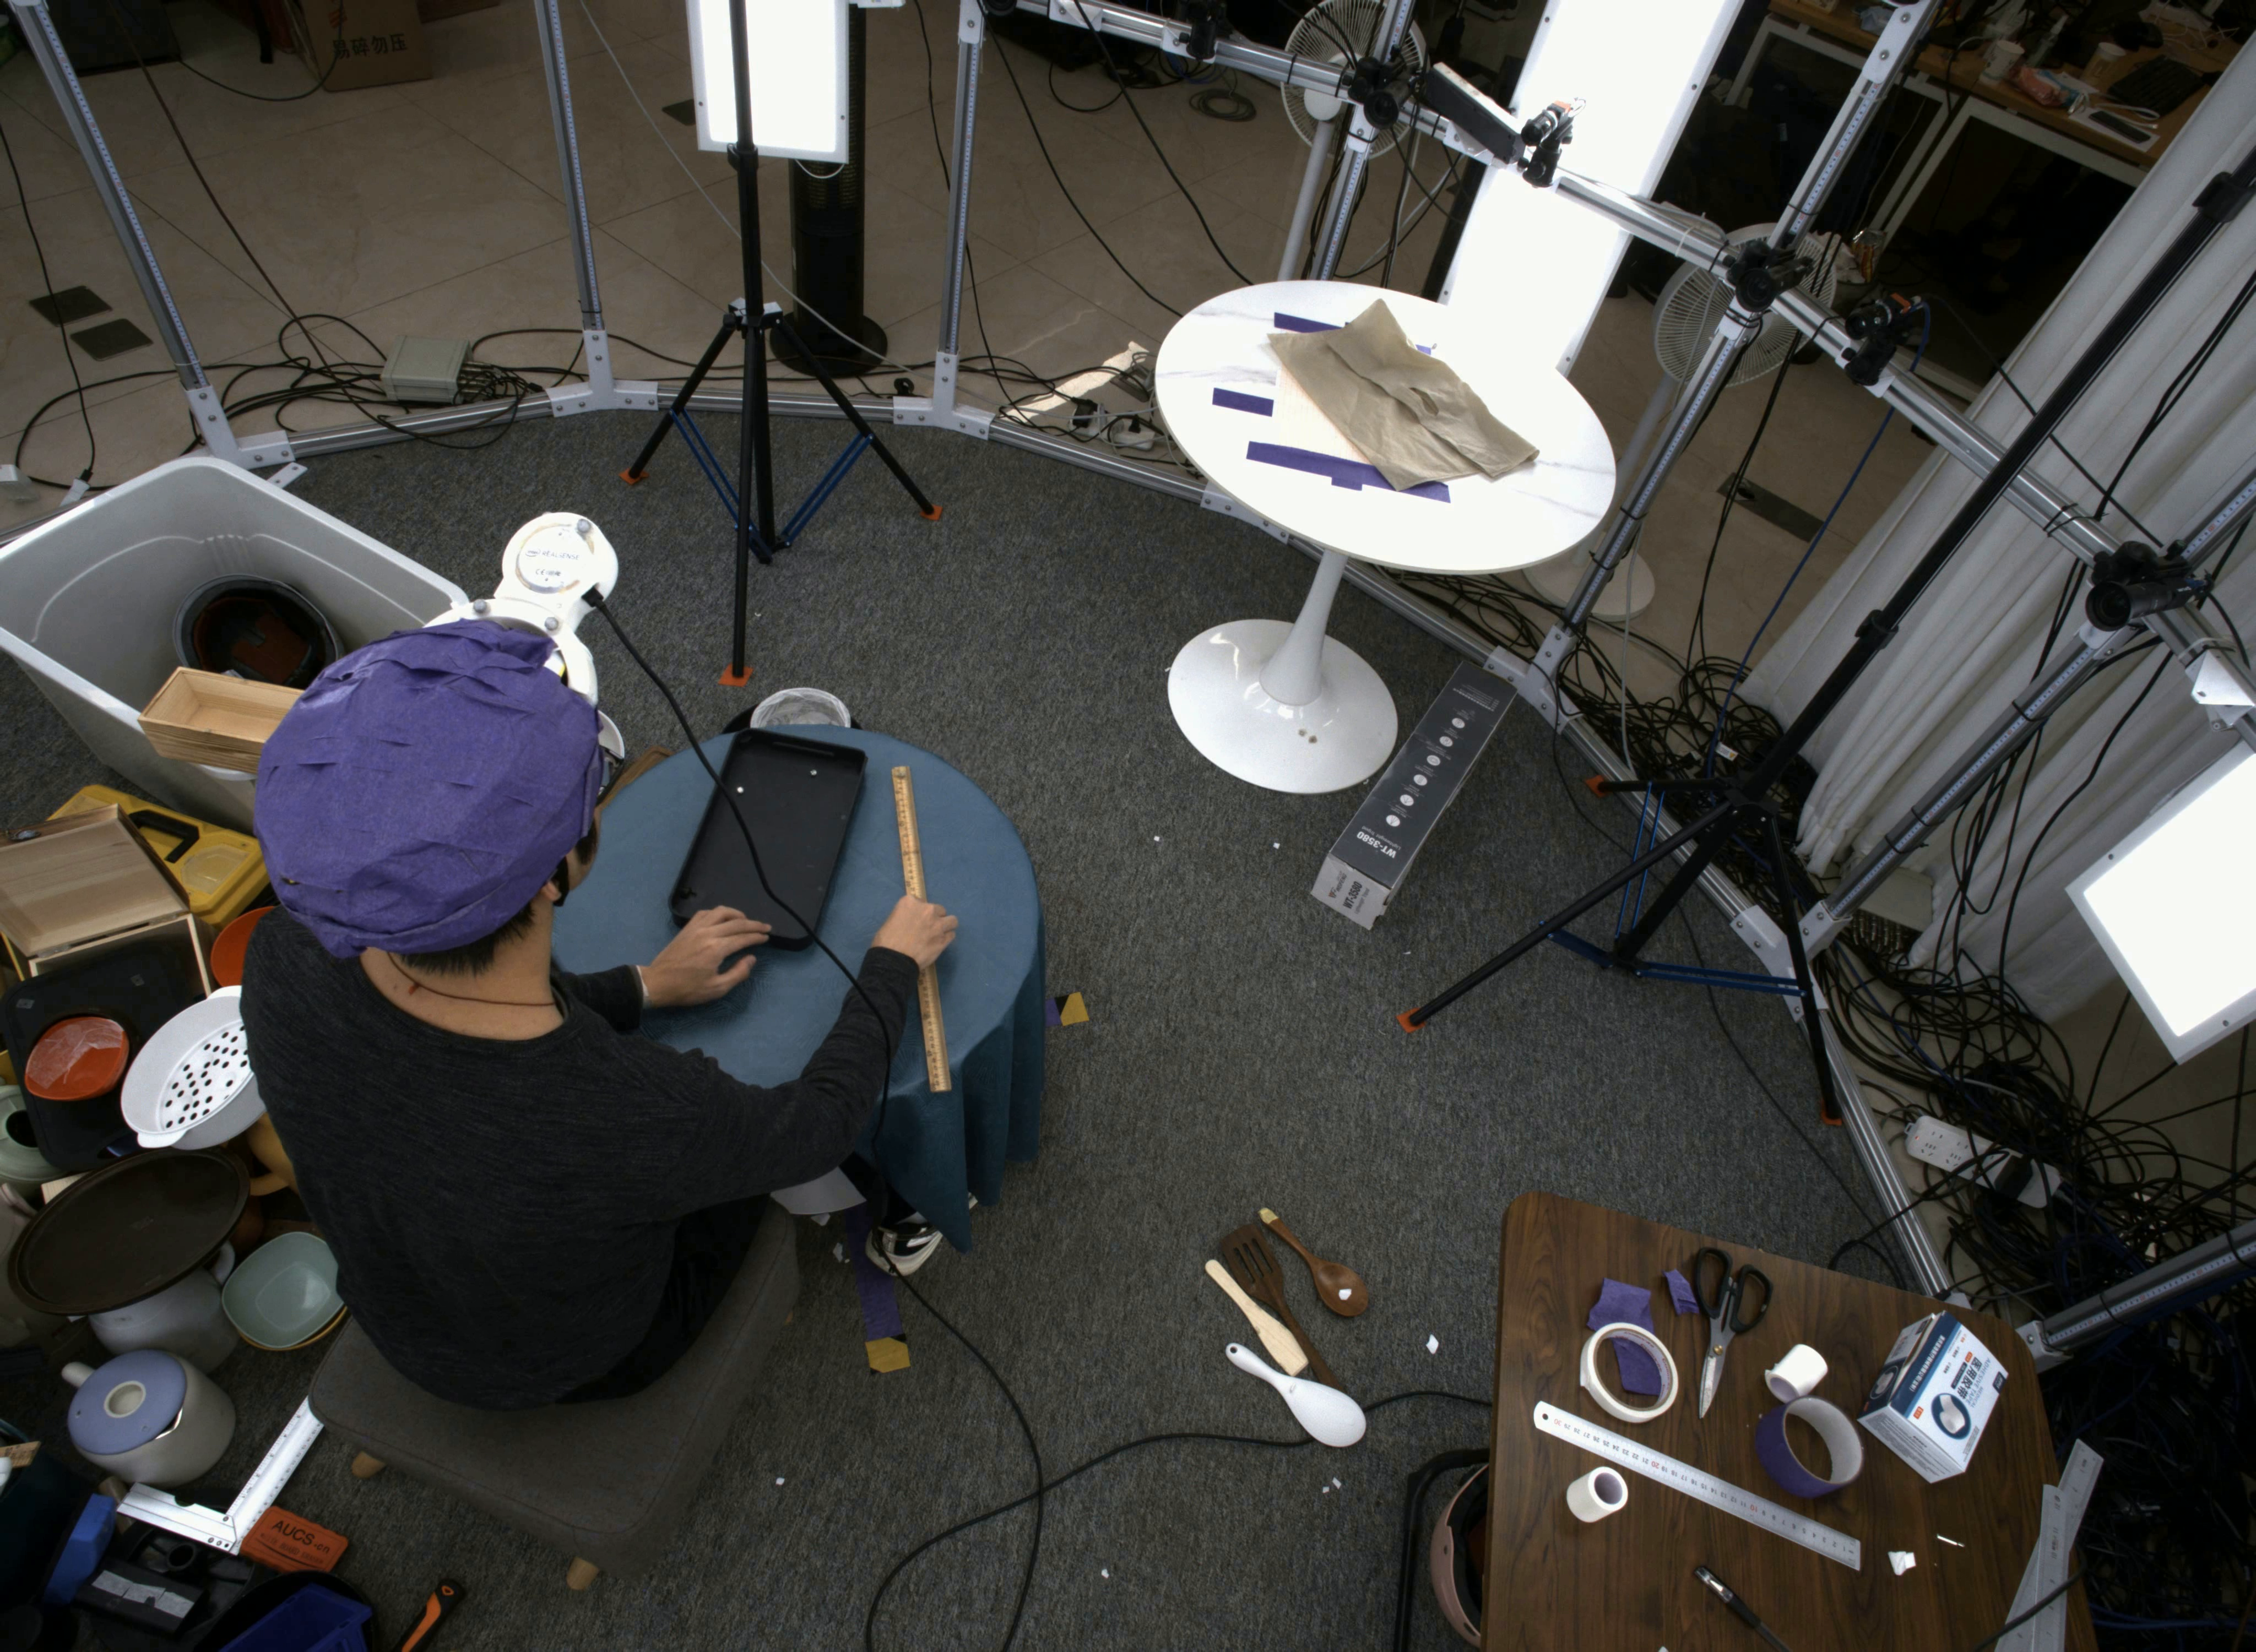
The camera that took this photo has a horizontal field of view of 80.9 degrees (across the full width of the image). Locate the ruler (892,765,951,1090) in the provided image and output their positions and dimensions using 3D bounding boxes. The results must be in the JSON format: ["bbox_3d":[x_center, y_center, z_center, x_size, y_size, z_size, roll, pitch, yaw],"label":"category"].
[{"bbox_3d":[-0.269,0.111,1.669,0.027,0.006,0.489,2,53,-21],"label":"ruler"}]

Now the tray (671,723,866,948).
[{"bbox_3d":[-0.460,0.006,1.682,0.183,0.038,0.313,11,53,-6],"label":"tray"}]
